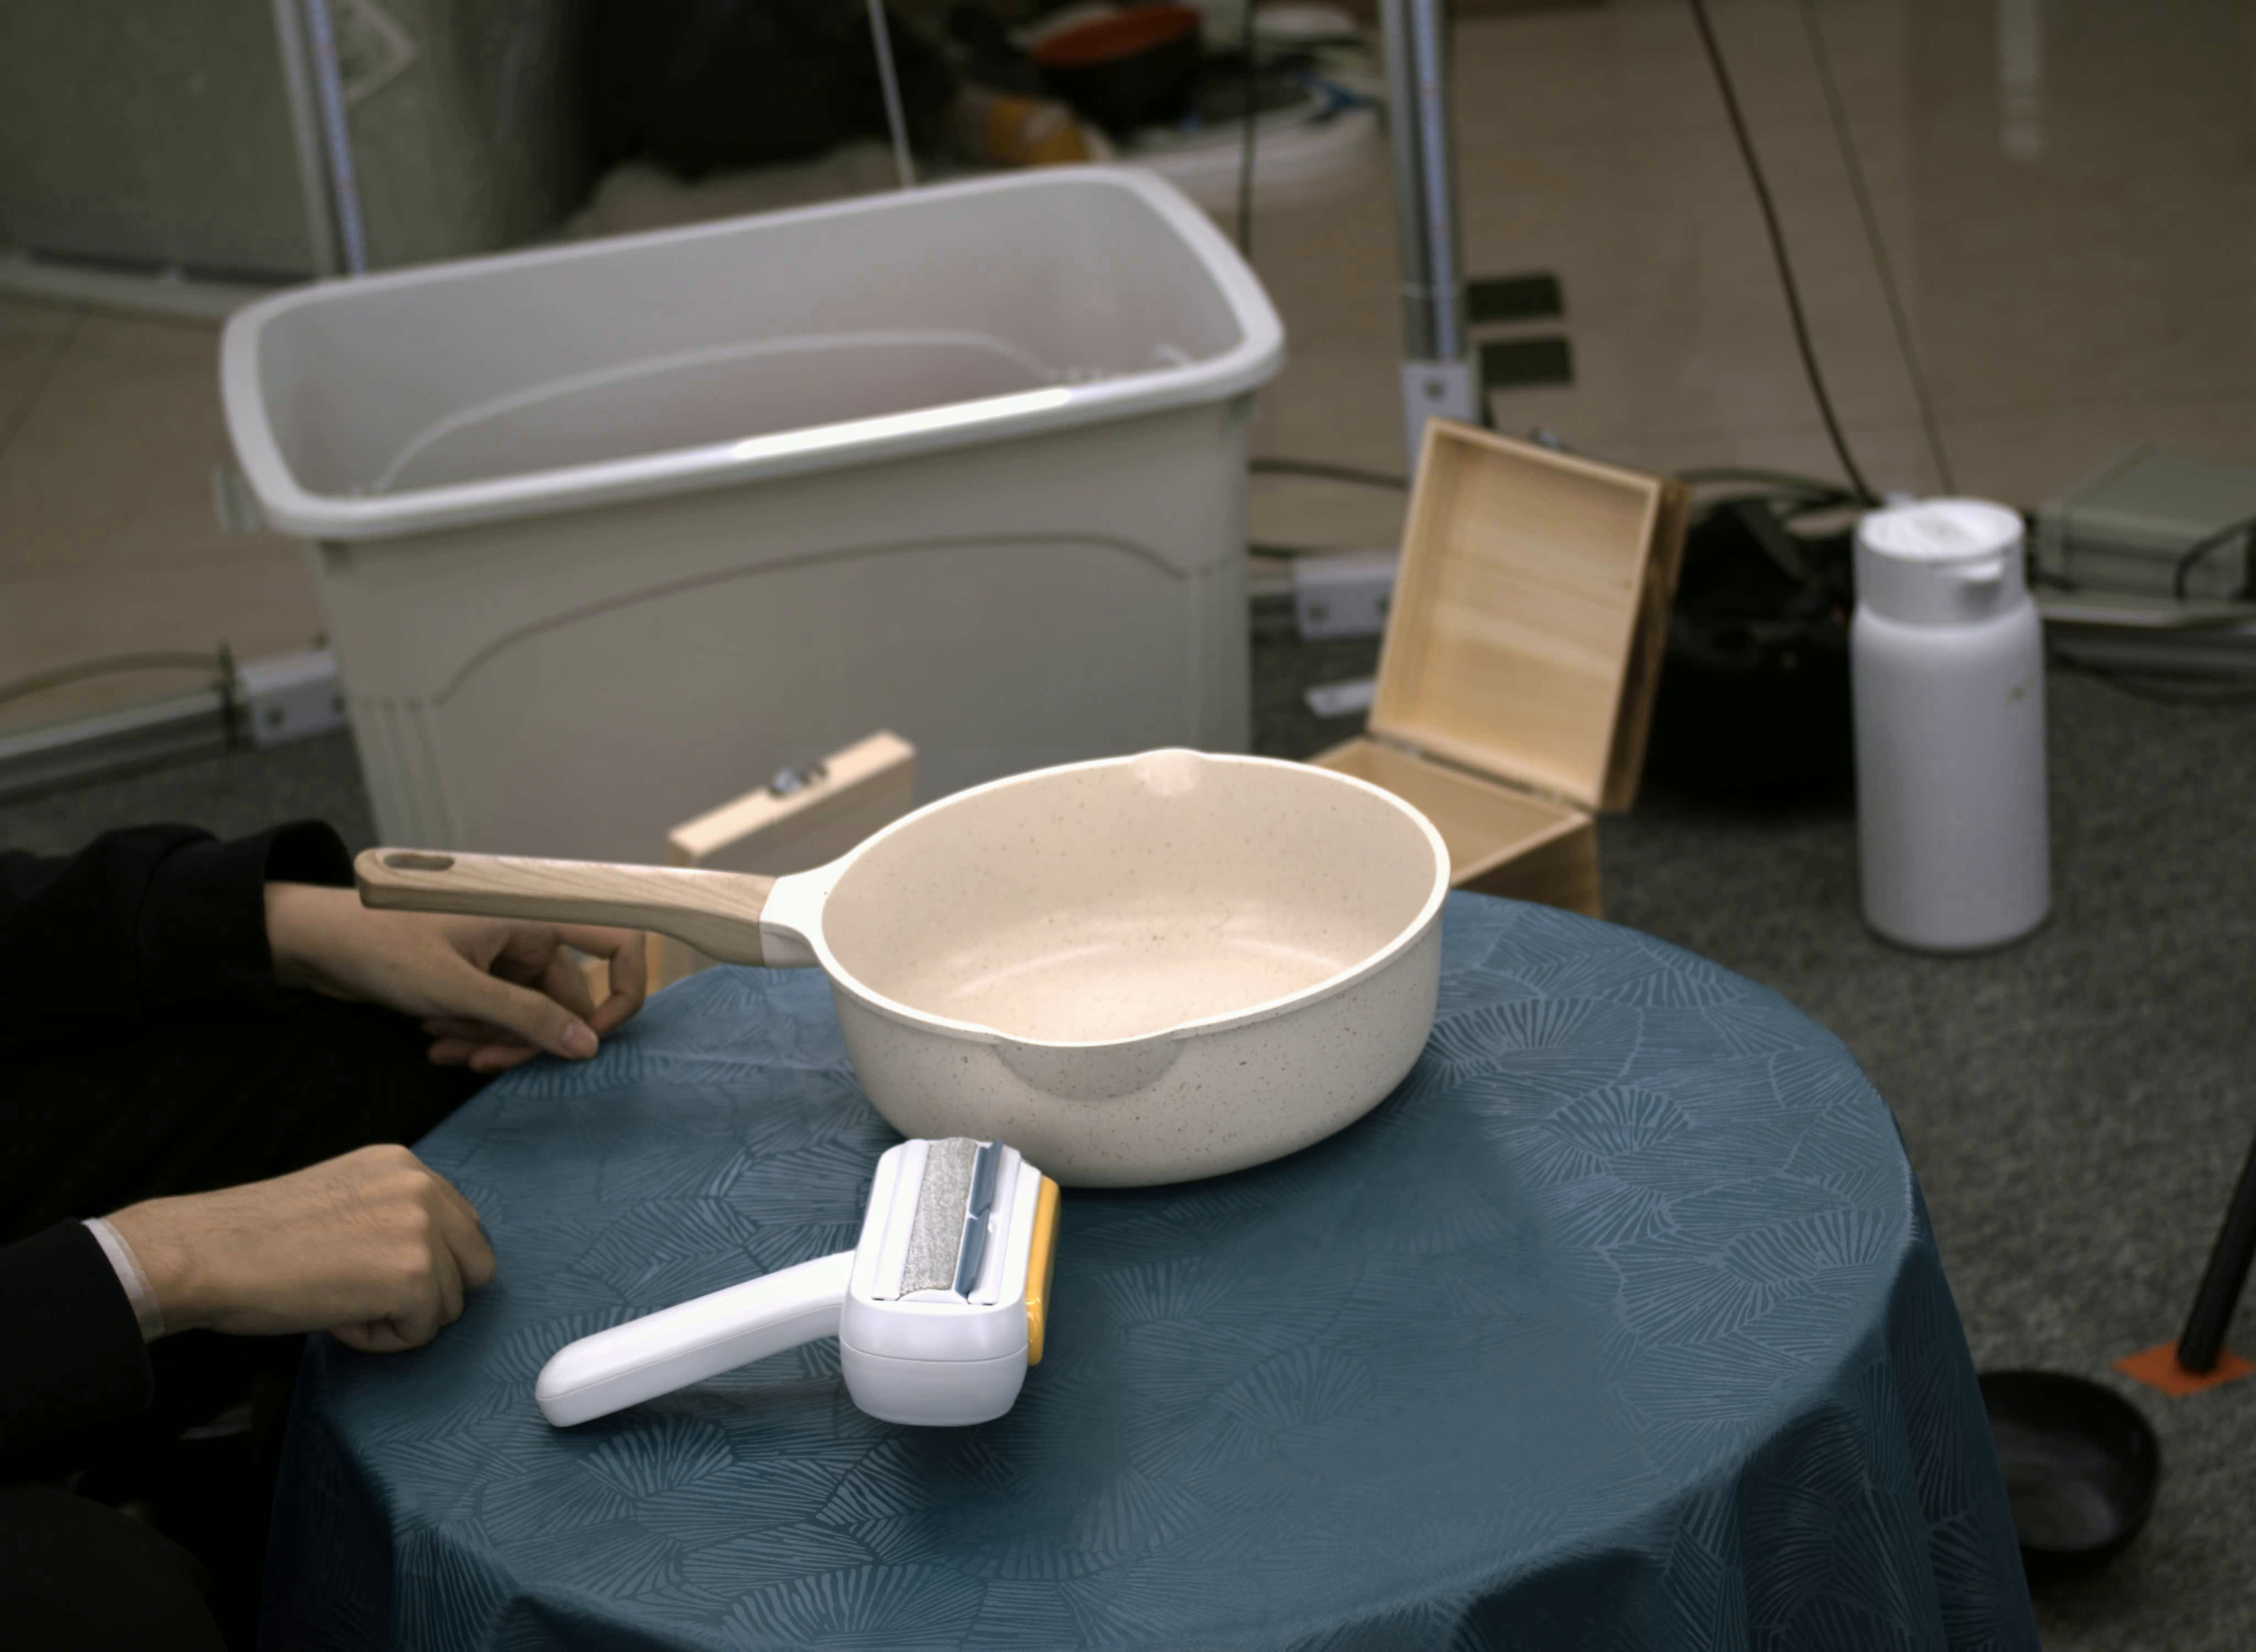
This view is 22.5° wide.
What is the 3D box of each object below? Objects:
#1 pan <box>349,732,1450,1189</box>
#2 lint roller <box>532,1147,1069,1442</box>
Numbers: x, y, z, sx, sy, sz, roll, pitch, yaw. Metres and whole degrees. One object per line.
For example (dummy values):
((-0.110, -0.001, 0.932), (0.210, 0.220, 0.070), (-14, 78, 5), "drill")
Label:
((-0.087, 0.054, 2.228), (0.434, 0.104, 0.259), (-2, 28, 9), "pan")
((-0.121, 0.175, 2.017), (0.192, 0.075, 0.190), (-5, 19, 7), "lint roller")
